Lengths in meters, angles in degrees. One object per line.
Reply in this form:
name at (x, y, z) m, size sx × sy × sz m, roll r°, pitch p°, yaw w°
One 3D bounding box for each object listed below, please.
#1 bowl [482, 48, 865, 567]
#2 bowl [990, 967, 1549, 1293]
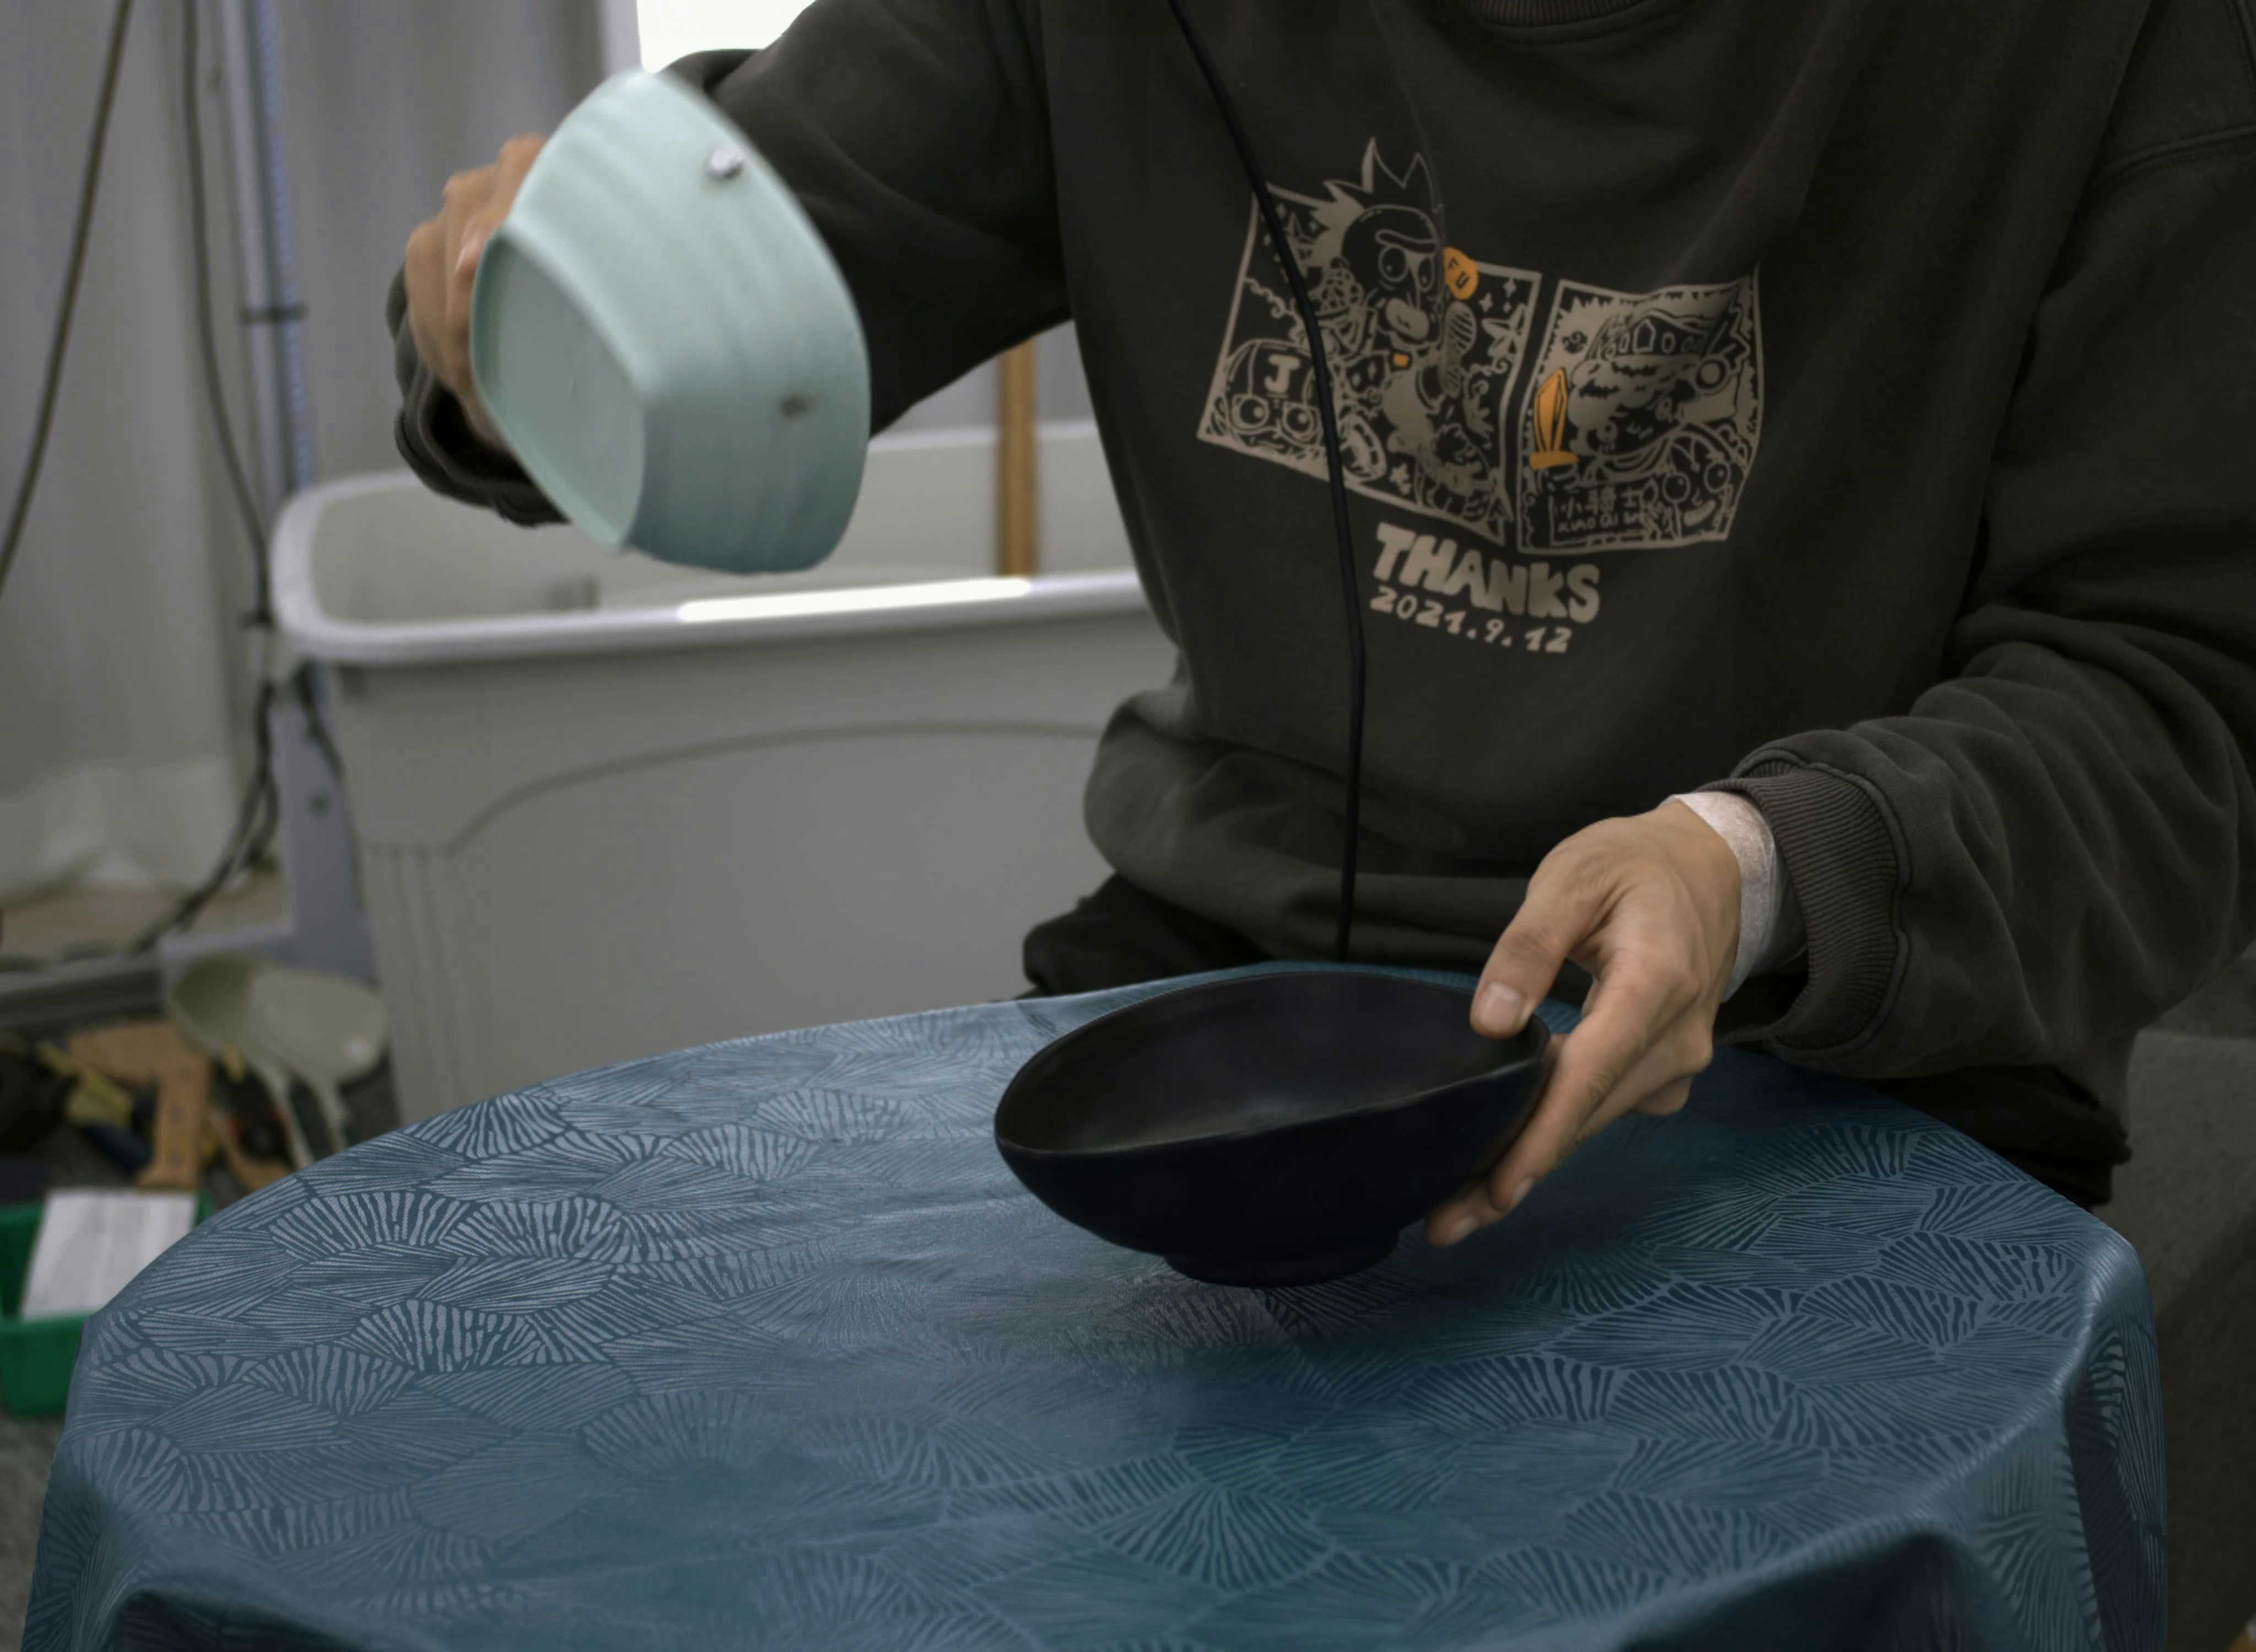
bowl at (-0.136, -0.139, 1.546) m, size 0.058 × 0.150 × 0.152 m, roll -20°, pitch 21°, yaw -29°
bowl at (0.044, 0.095, 1.603) m, size 0.169 × 0.066 × 0.138 m, roll -12°, pitch 17°, yaw -22°
